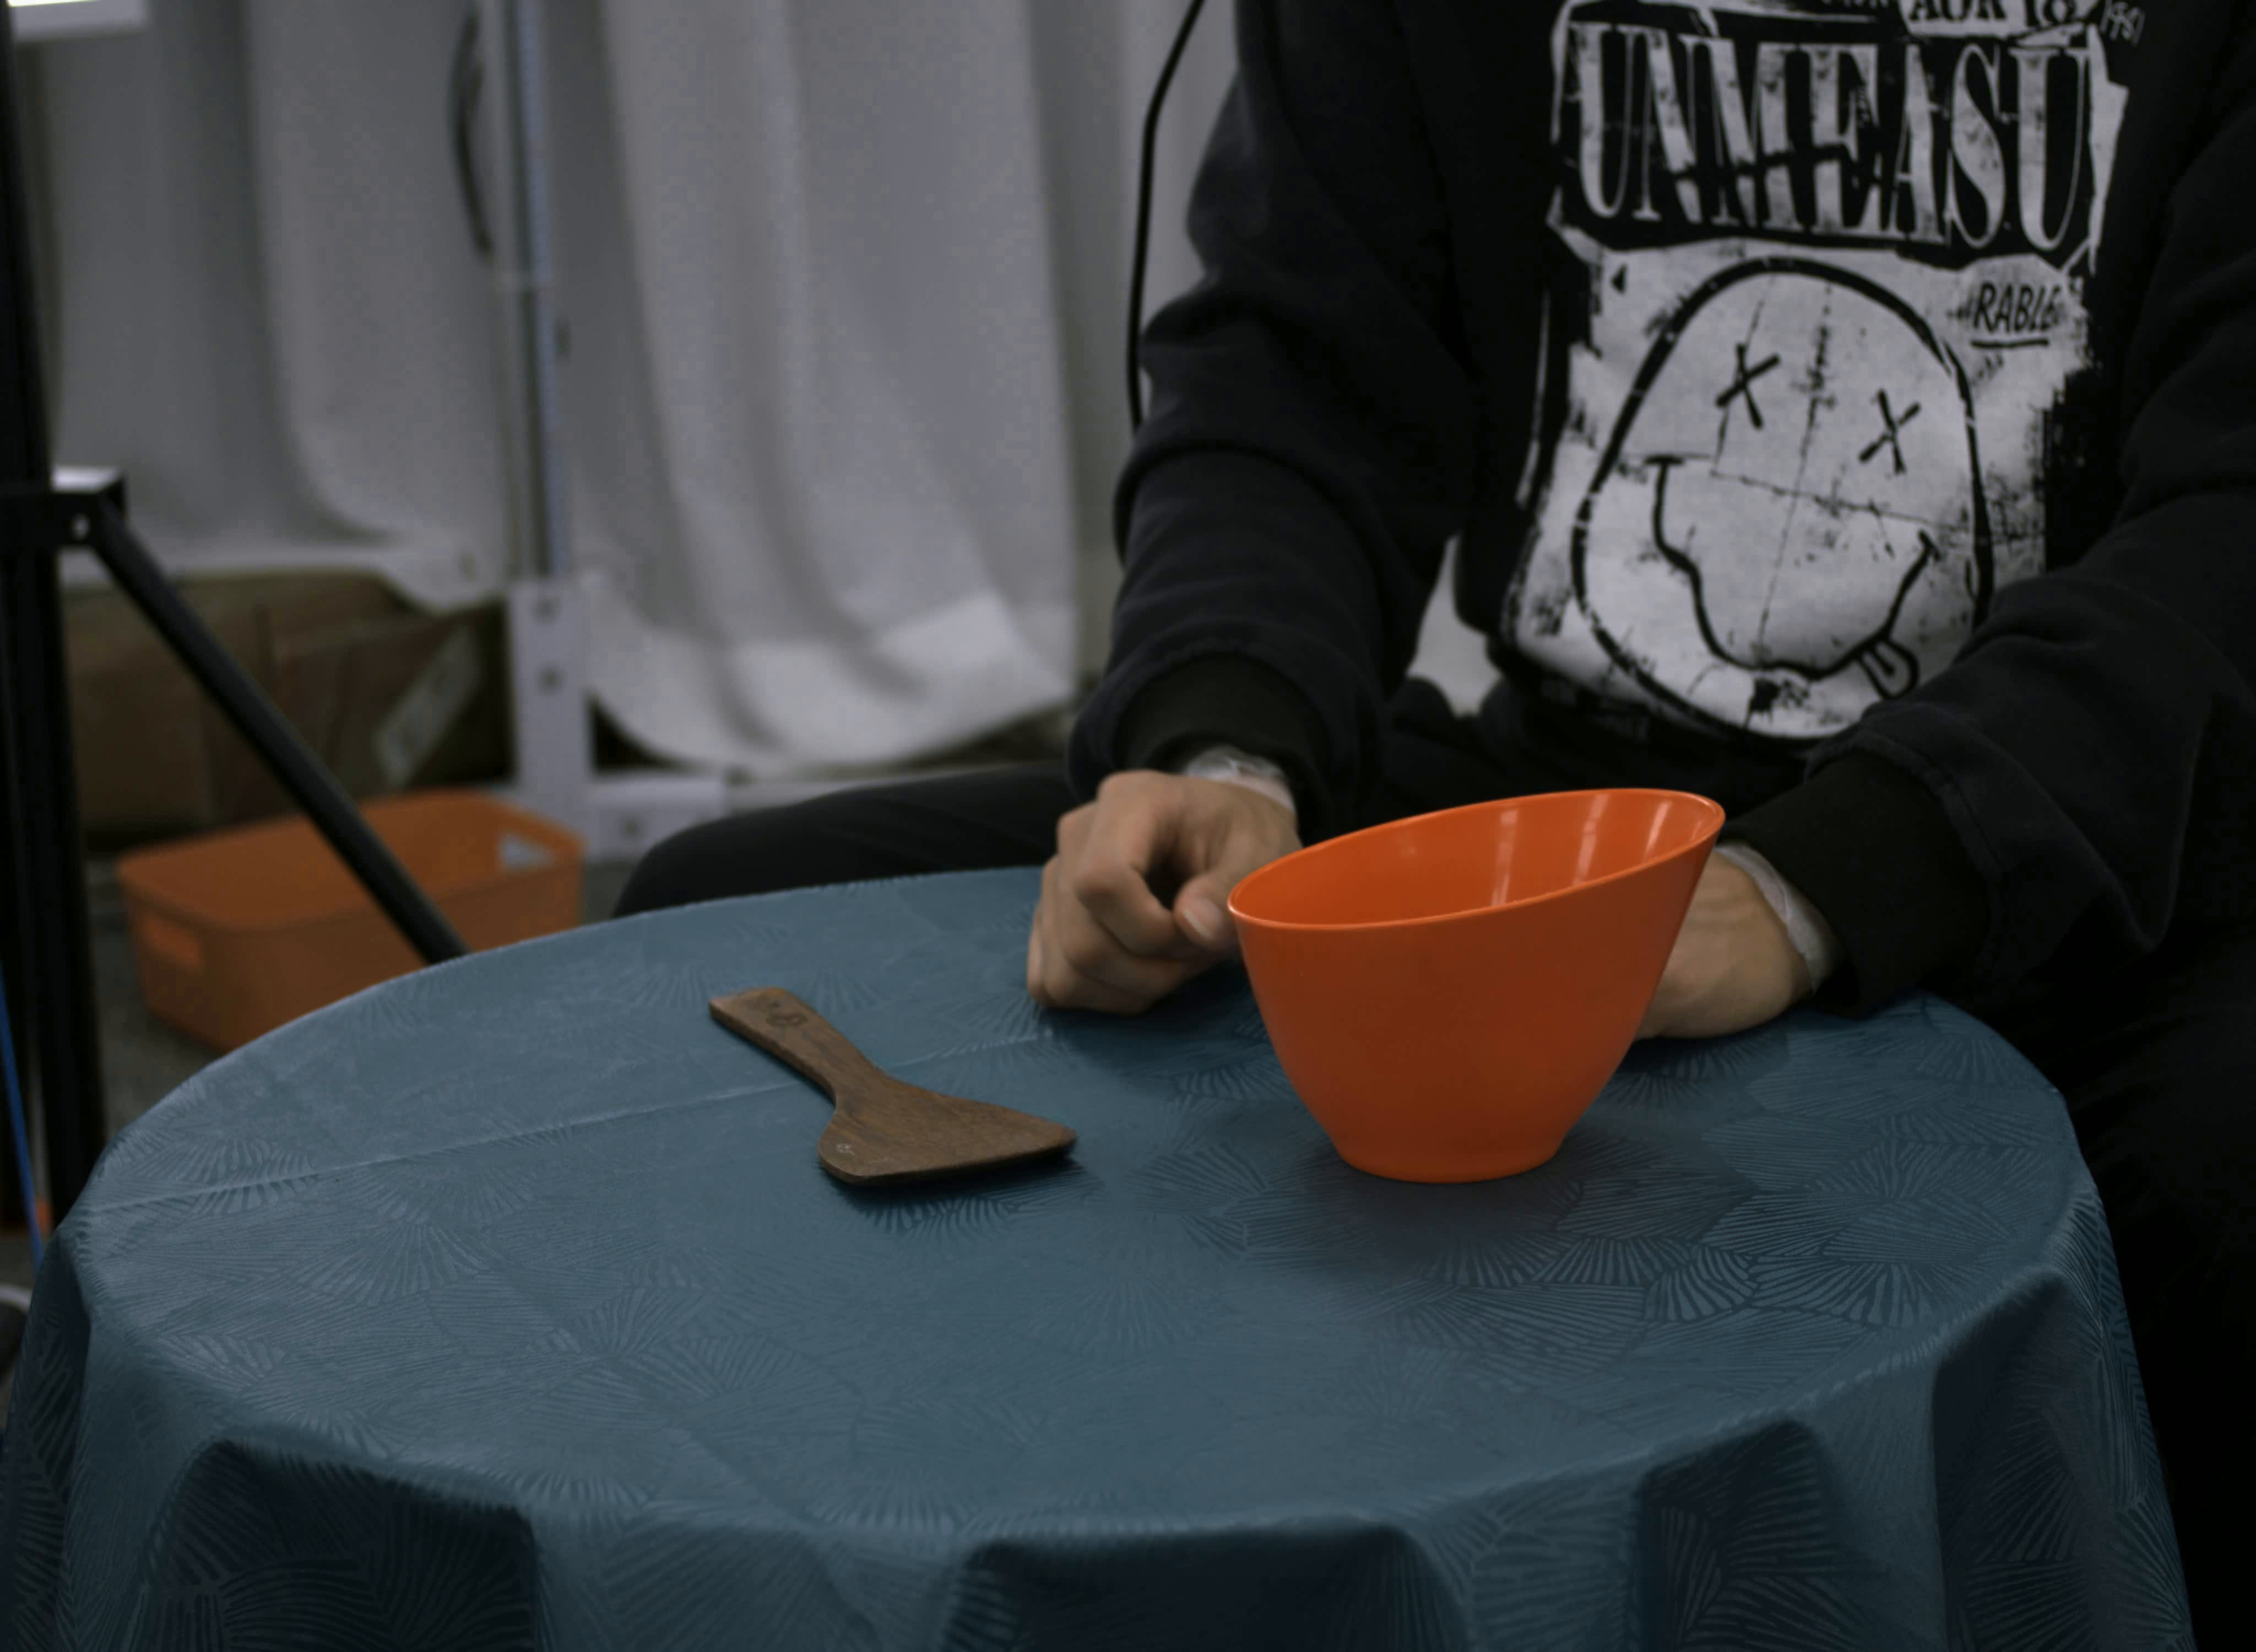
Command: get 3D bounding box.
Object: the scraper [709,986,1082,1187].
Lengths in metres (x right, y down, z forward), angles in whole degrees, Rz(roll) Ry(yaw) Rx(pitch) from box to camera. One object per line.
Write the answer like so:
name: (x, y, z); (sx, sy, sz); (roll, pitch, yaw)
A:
scraper: (-0.085, 0.080, 1.658); (0.074, 0.011, 0.215); (-8, 16, -21)

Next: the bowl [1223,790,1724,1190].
bowl: (0.102, 0.049, 1.564); (0.147, 0.104, 0.149); (-3, 16, -1)
